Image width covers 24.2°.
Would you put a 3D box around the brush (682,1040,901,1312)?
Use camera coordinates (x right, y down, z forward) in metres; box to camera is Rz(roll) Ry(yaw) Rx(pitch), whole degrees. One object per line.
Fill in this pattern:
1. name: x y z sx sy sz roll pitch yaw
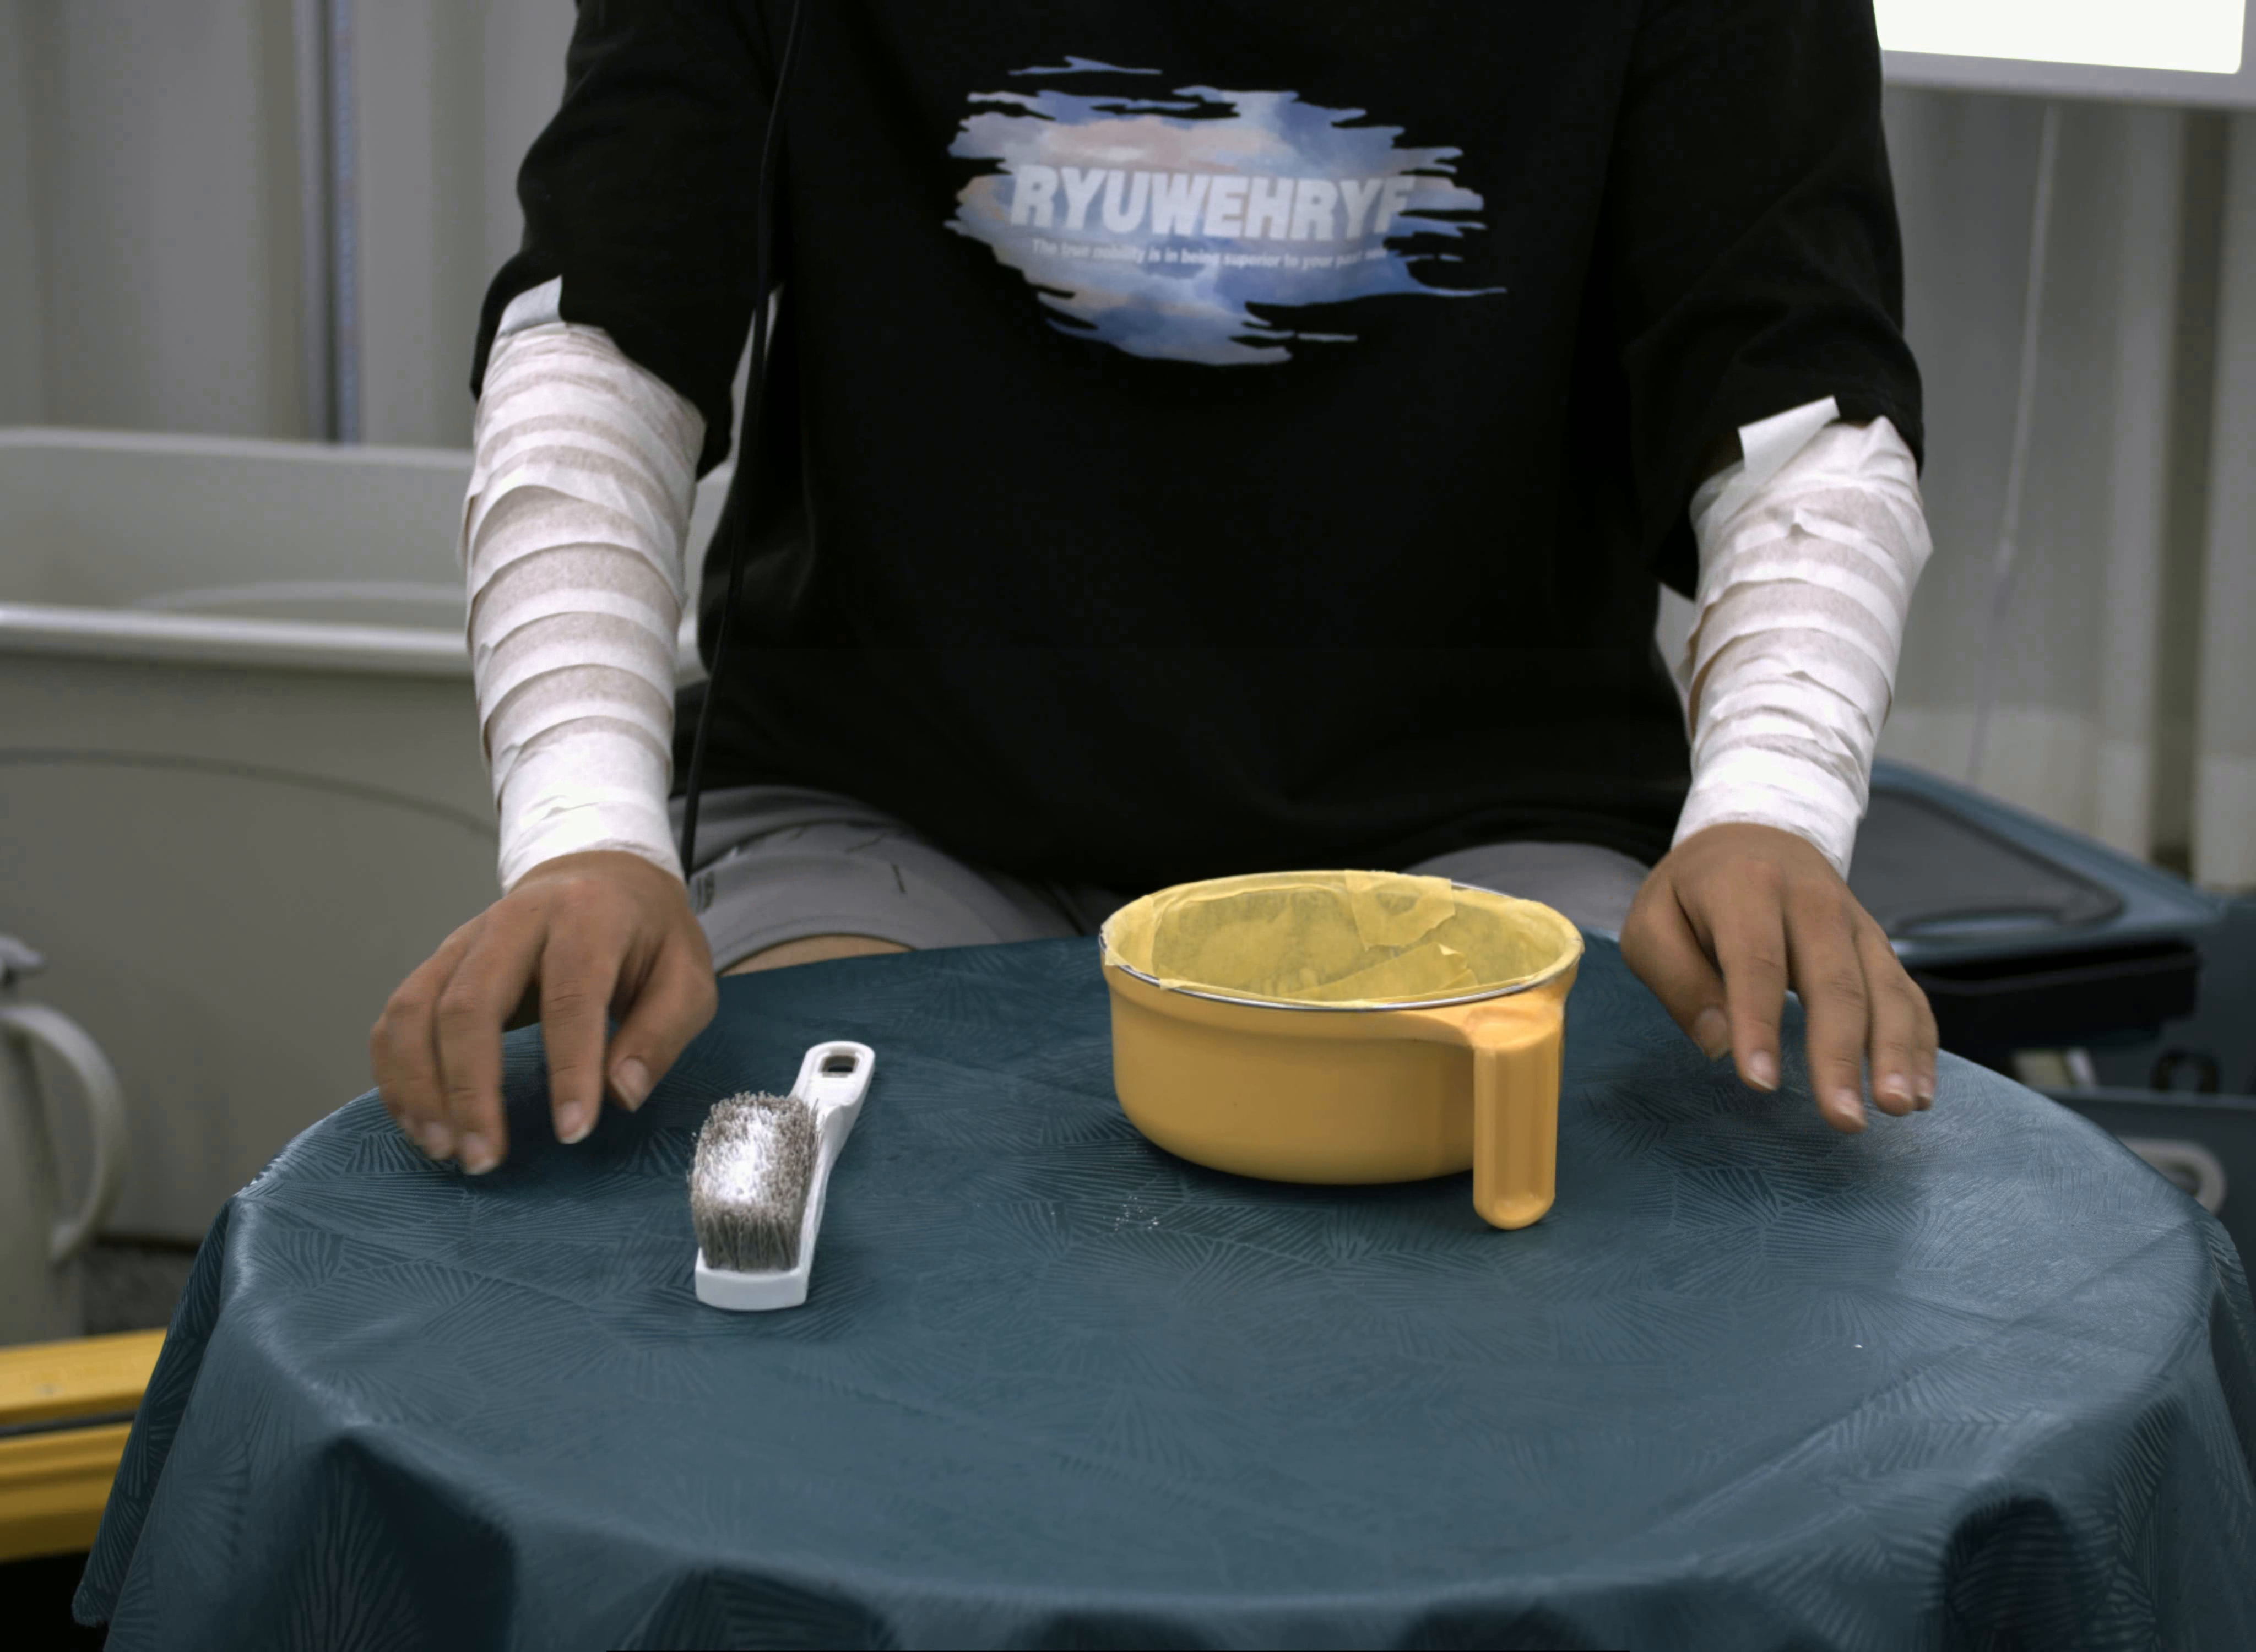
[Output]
1. brush: -0.099 0.087 1.617 0.034 0.050 0.243 1 16 7

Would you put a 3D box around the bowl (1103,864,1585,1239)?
1. bowl: 0.072 0.068 1.656 0.154 0.075 0.177 -5 17 -34
